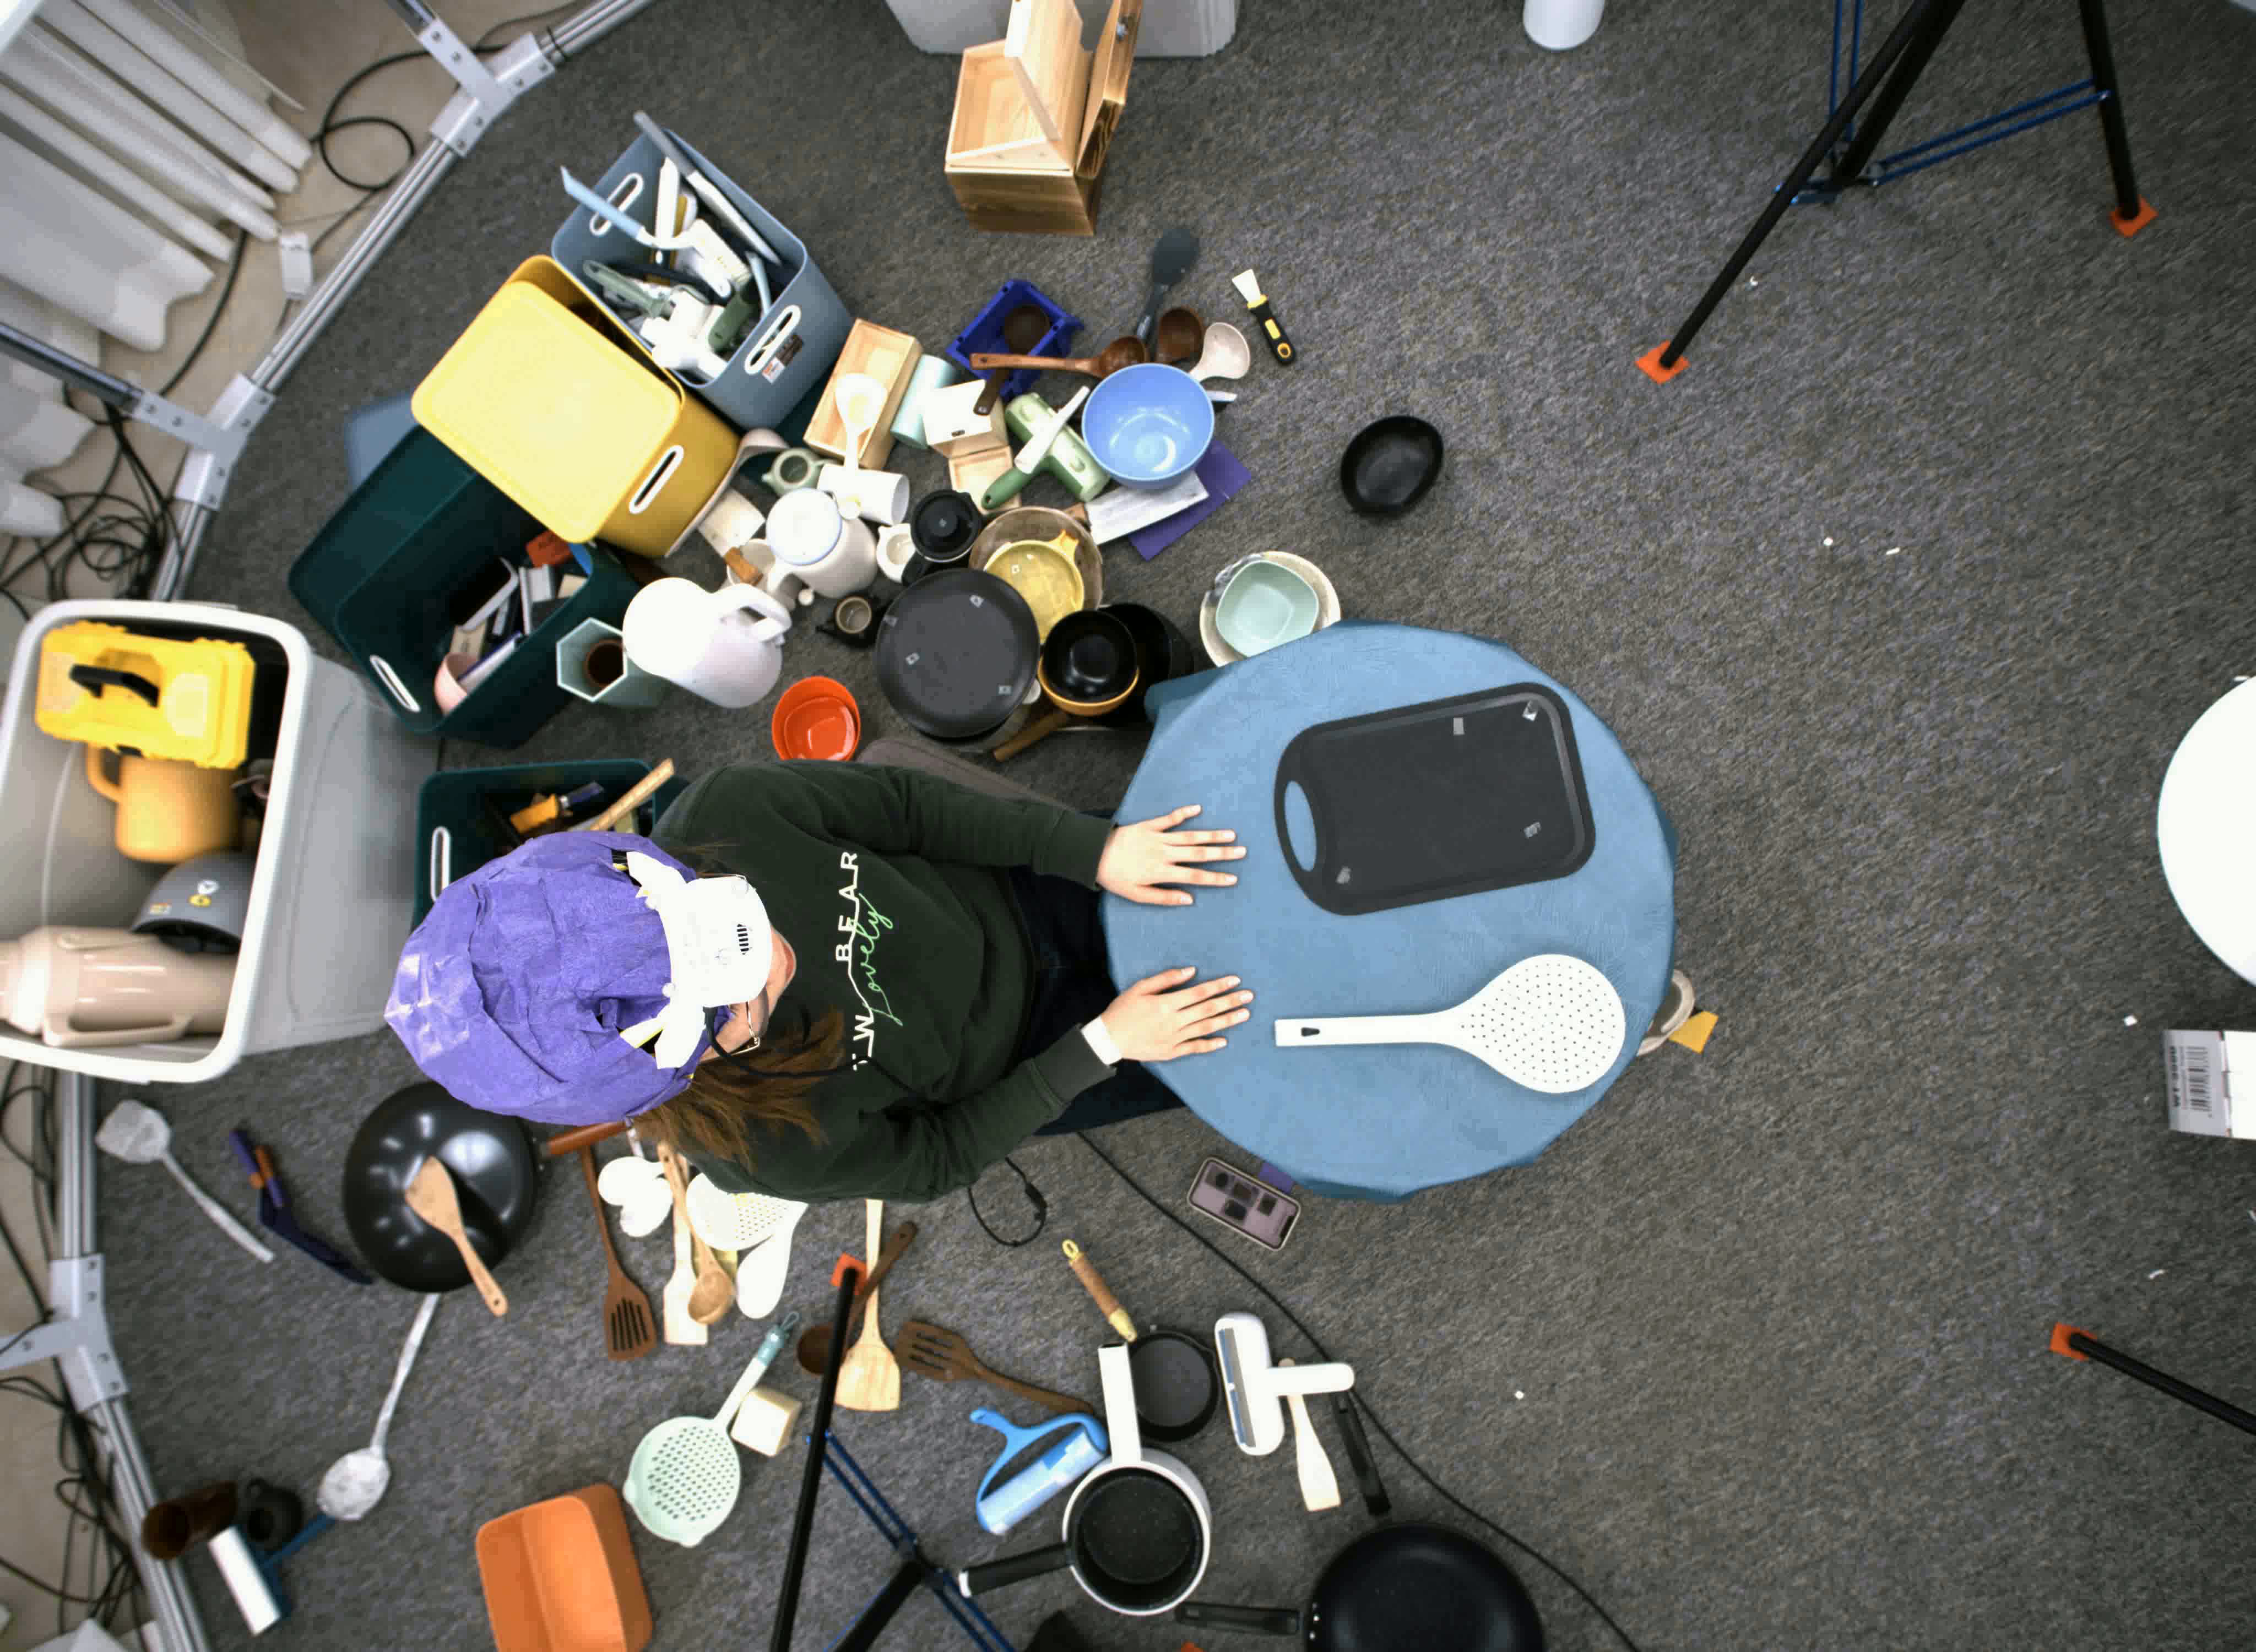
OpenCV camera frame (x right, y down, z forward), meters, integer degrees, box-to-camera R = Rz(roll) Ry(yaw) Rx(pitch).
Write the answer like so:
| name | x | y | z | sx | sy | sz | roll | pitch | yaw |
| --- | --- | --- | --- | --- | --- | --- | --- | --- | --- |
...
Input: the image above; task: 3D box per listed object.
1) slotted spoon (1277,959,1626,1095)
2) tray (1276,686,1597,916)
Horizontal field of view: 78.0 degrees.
| name | x | y | z | sx | sy | sz | roll | pitch | yaw |
| --- | --- | --- | --- | --- | --- | --- | --- | --- | --- |
| slotted spoon | 0.327 | 0.208 | 1.422 | 0.351 | 0.046 | 0.135 | -3 | 83 | 11 |
| tray | 0.321 | -0.026 | 1.459 | 0.327 | 0.010 | 0.210 | -11 | 84 | 10 |
